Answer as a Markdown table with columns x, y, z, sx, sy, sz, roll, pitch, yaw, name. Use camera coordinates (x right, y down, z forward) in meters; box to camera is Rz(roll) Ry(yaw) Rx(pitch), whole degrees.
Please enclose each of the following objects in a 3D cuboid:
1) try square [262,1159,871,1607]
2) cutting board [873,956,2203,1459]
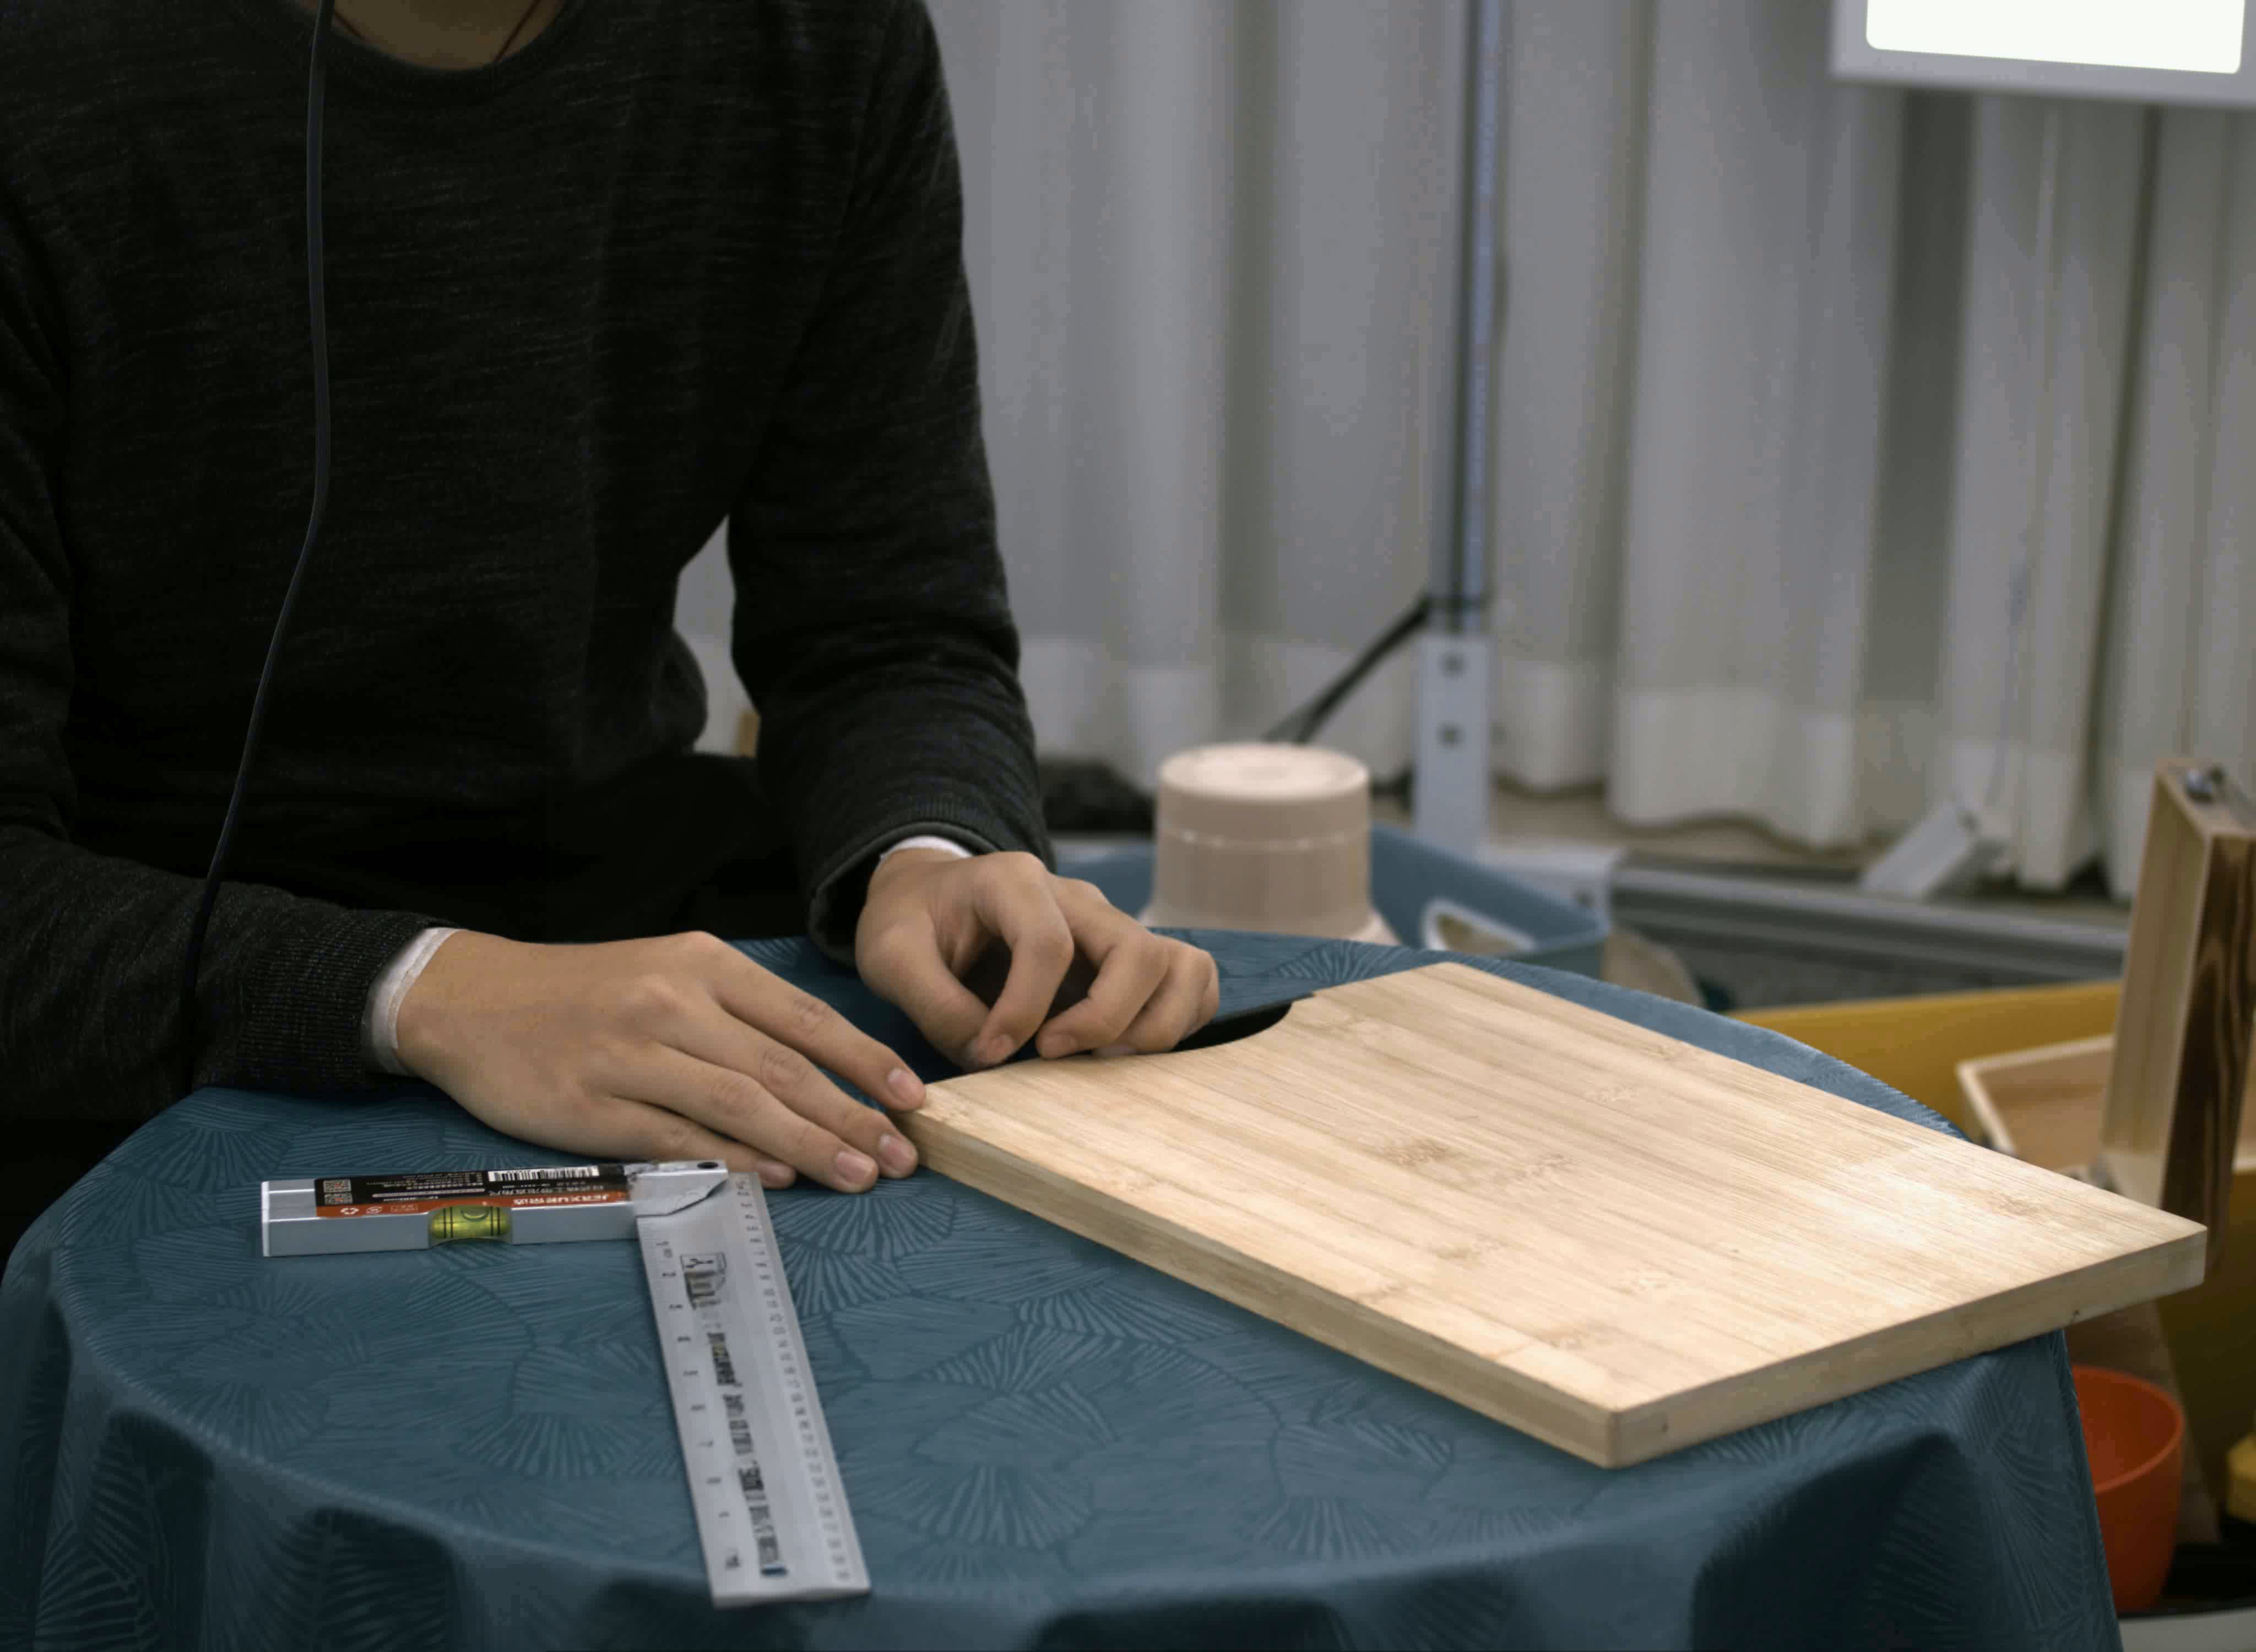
| x | y | z | sx | sy | sz | roll | pitch | yaw | name |
| --- | --- | --- | --- | --- | --- | --- | --- | --- | --- |
| -0.163 | 0.153 | 1.457 | 0.152 | 0.016 | 0.310 | -3 | 17 | -9 | try square |
| 0.117 | 0.109 | 1.607 | 0.252 | 0.024 | 0.344 | -12 | 20 | -38 | cutting board |
